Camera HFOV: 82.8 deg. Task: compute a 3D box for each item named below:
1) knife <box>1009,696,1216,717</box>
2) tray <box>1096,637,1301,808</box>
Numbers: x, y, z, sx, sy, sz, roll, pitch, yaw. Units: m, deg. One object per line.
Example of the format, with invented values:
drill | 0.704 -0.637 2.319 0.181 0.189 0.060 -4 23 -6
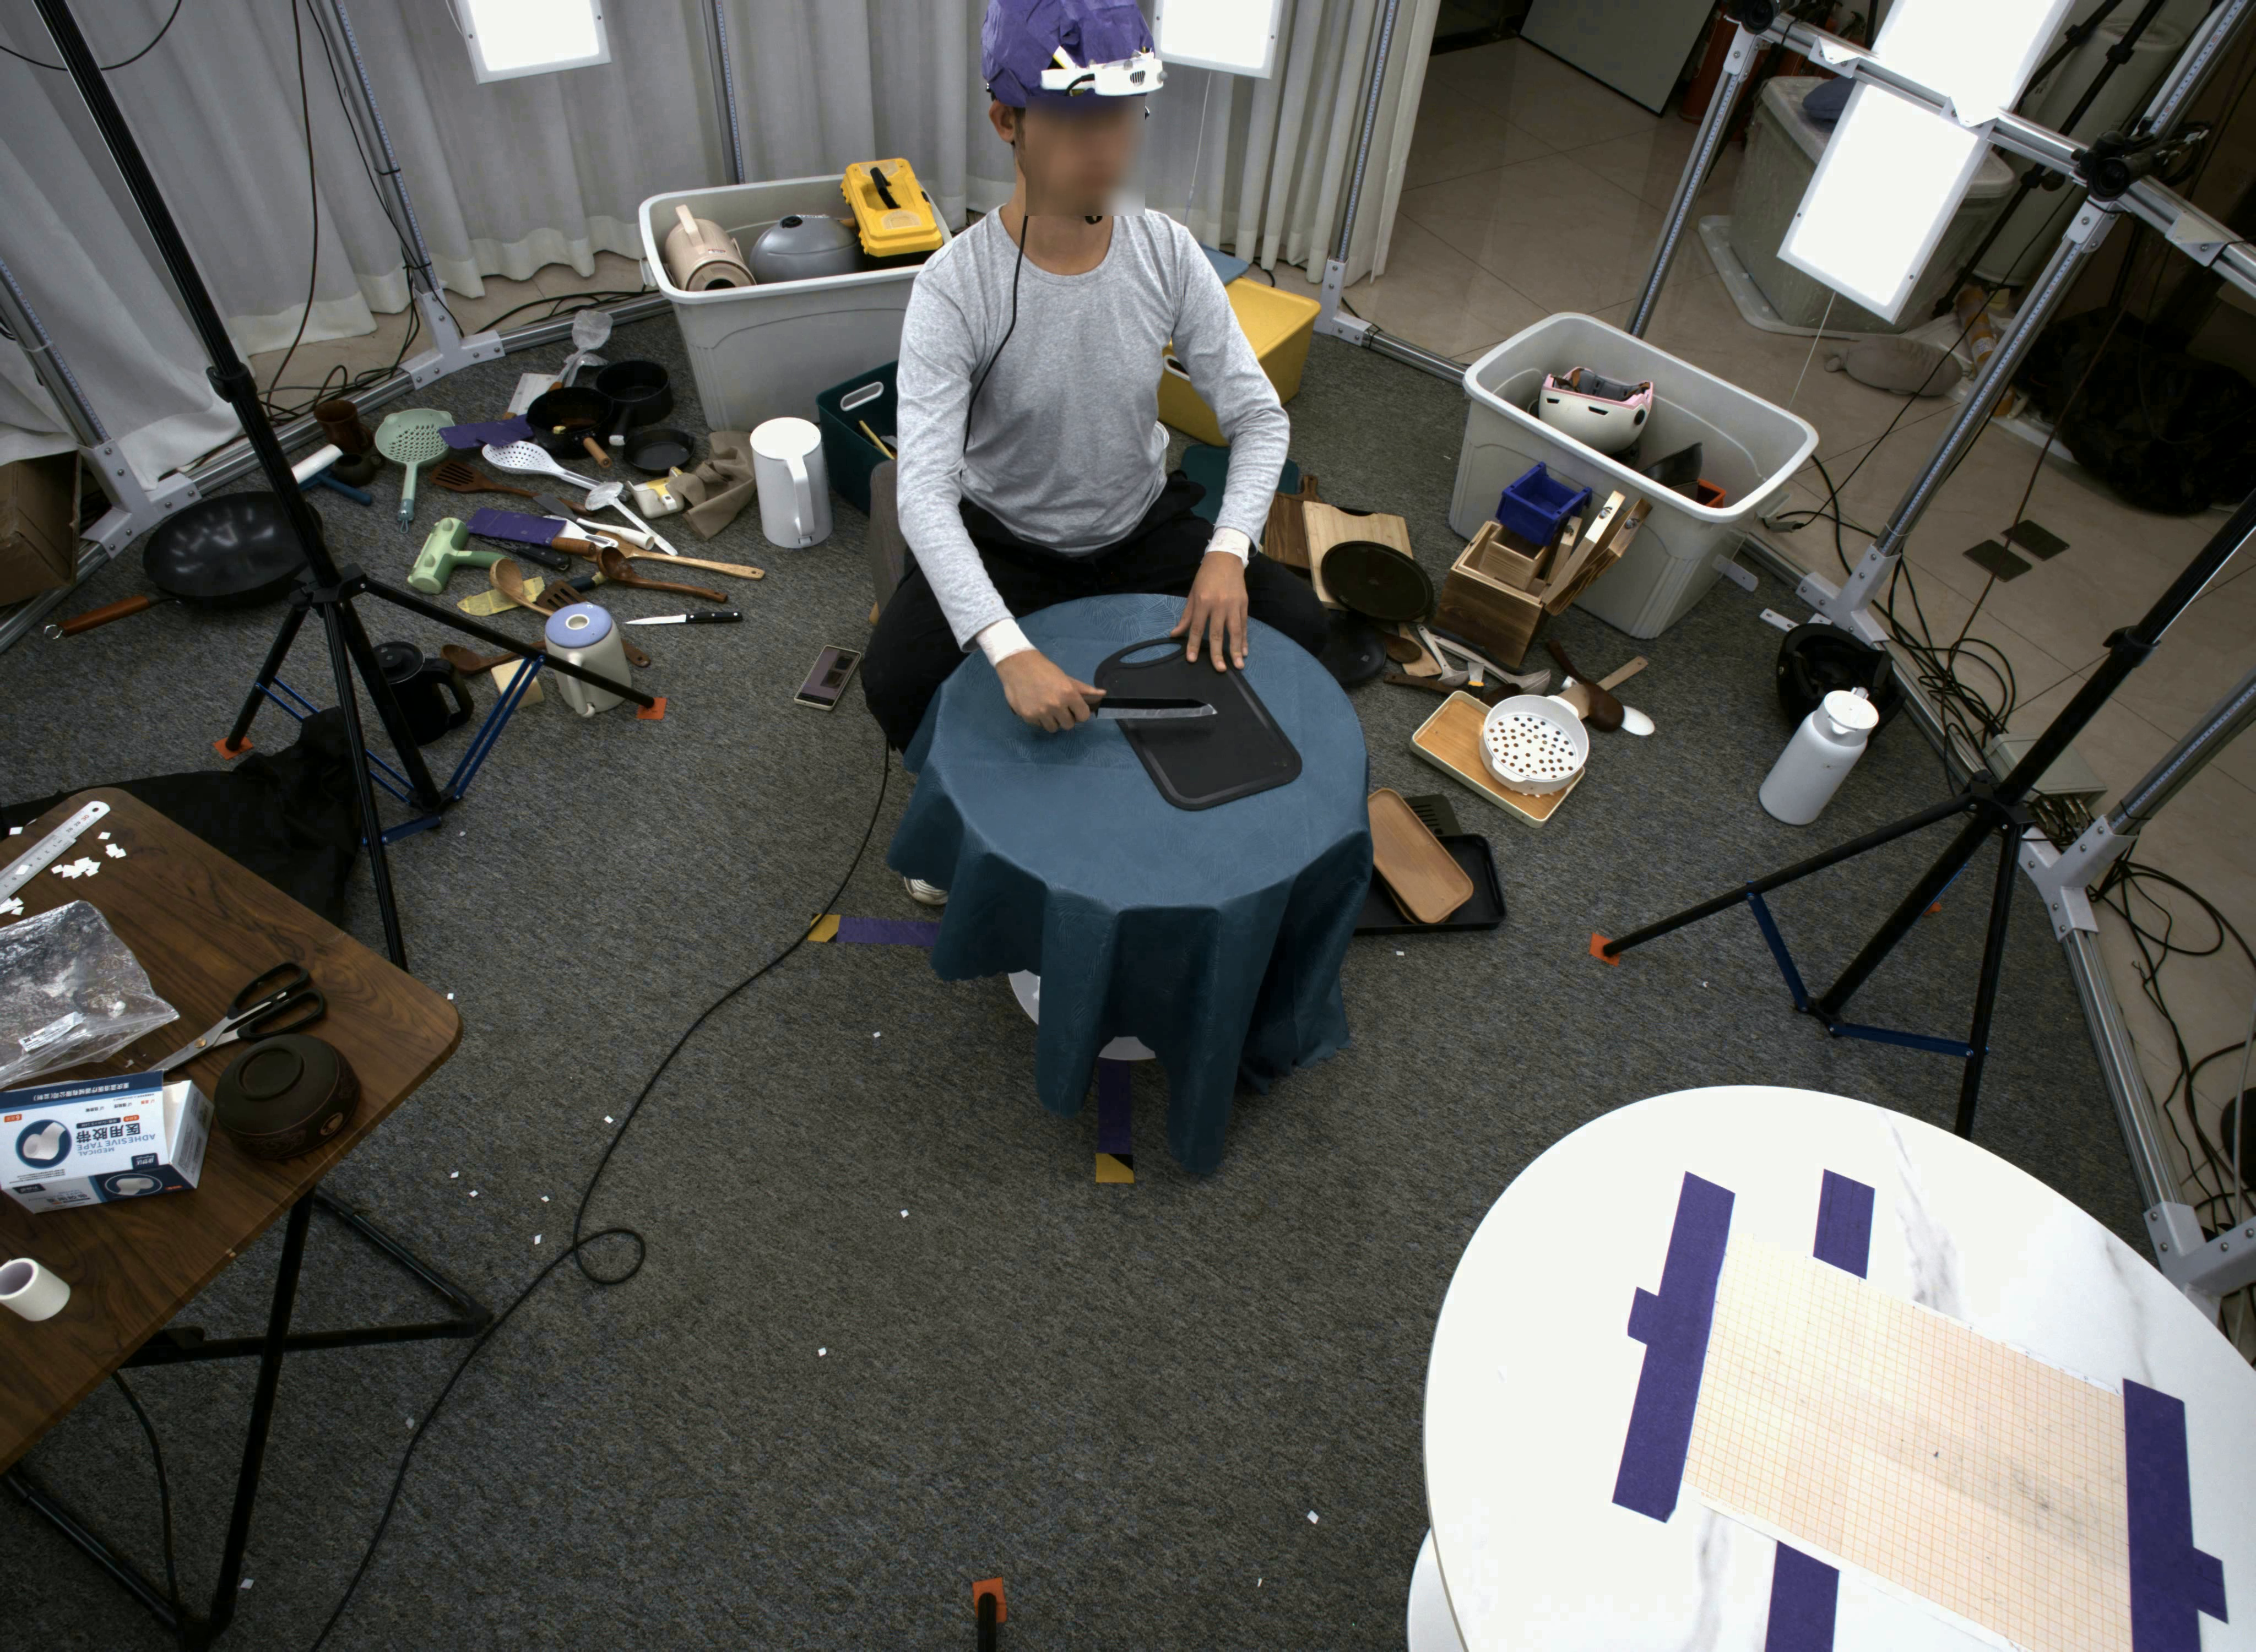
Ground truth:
knife | -0.019 -0.163 1.764 0.288 0.049 0.020 0 63 -9
tray | 0.091 -0.158 1.806 0.211 0.009 0.333 -16 52 -17
